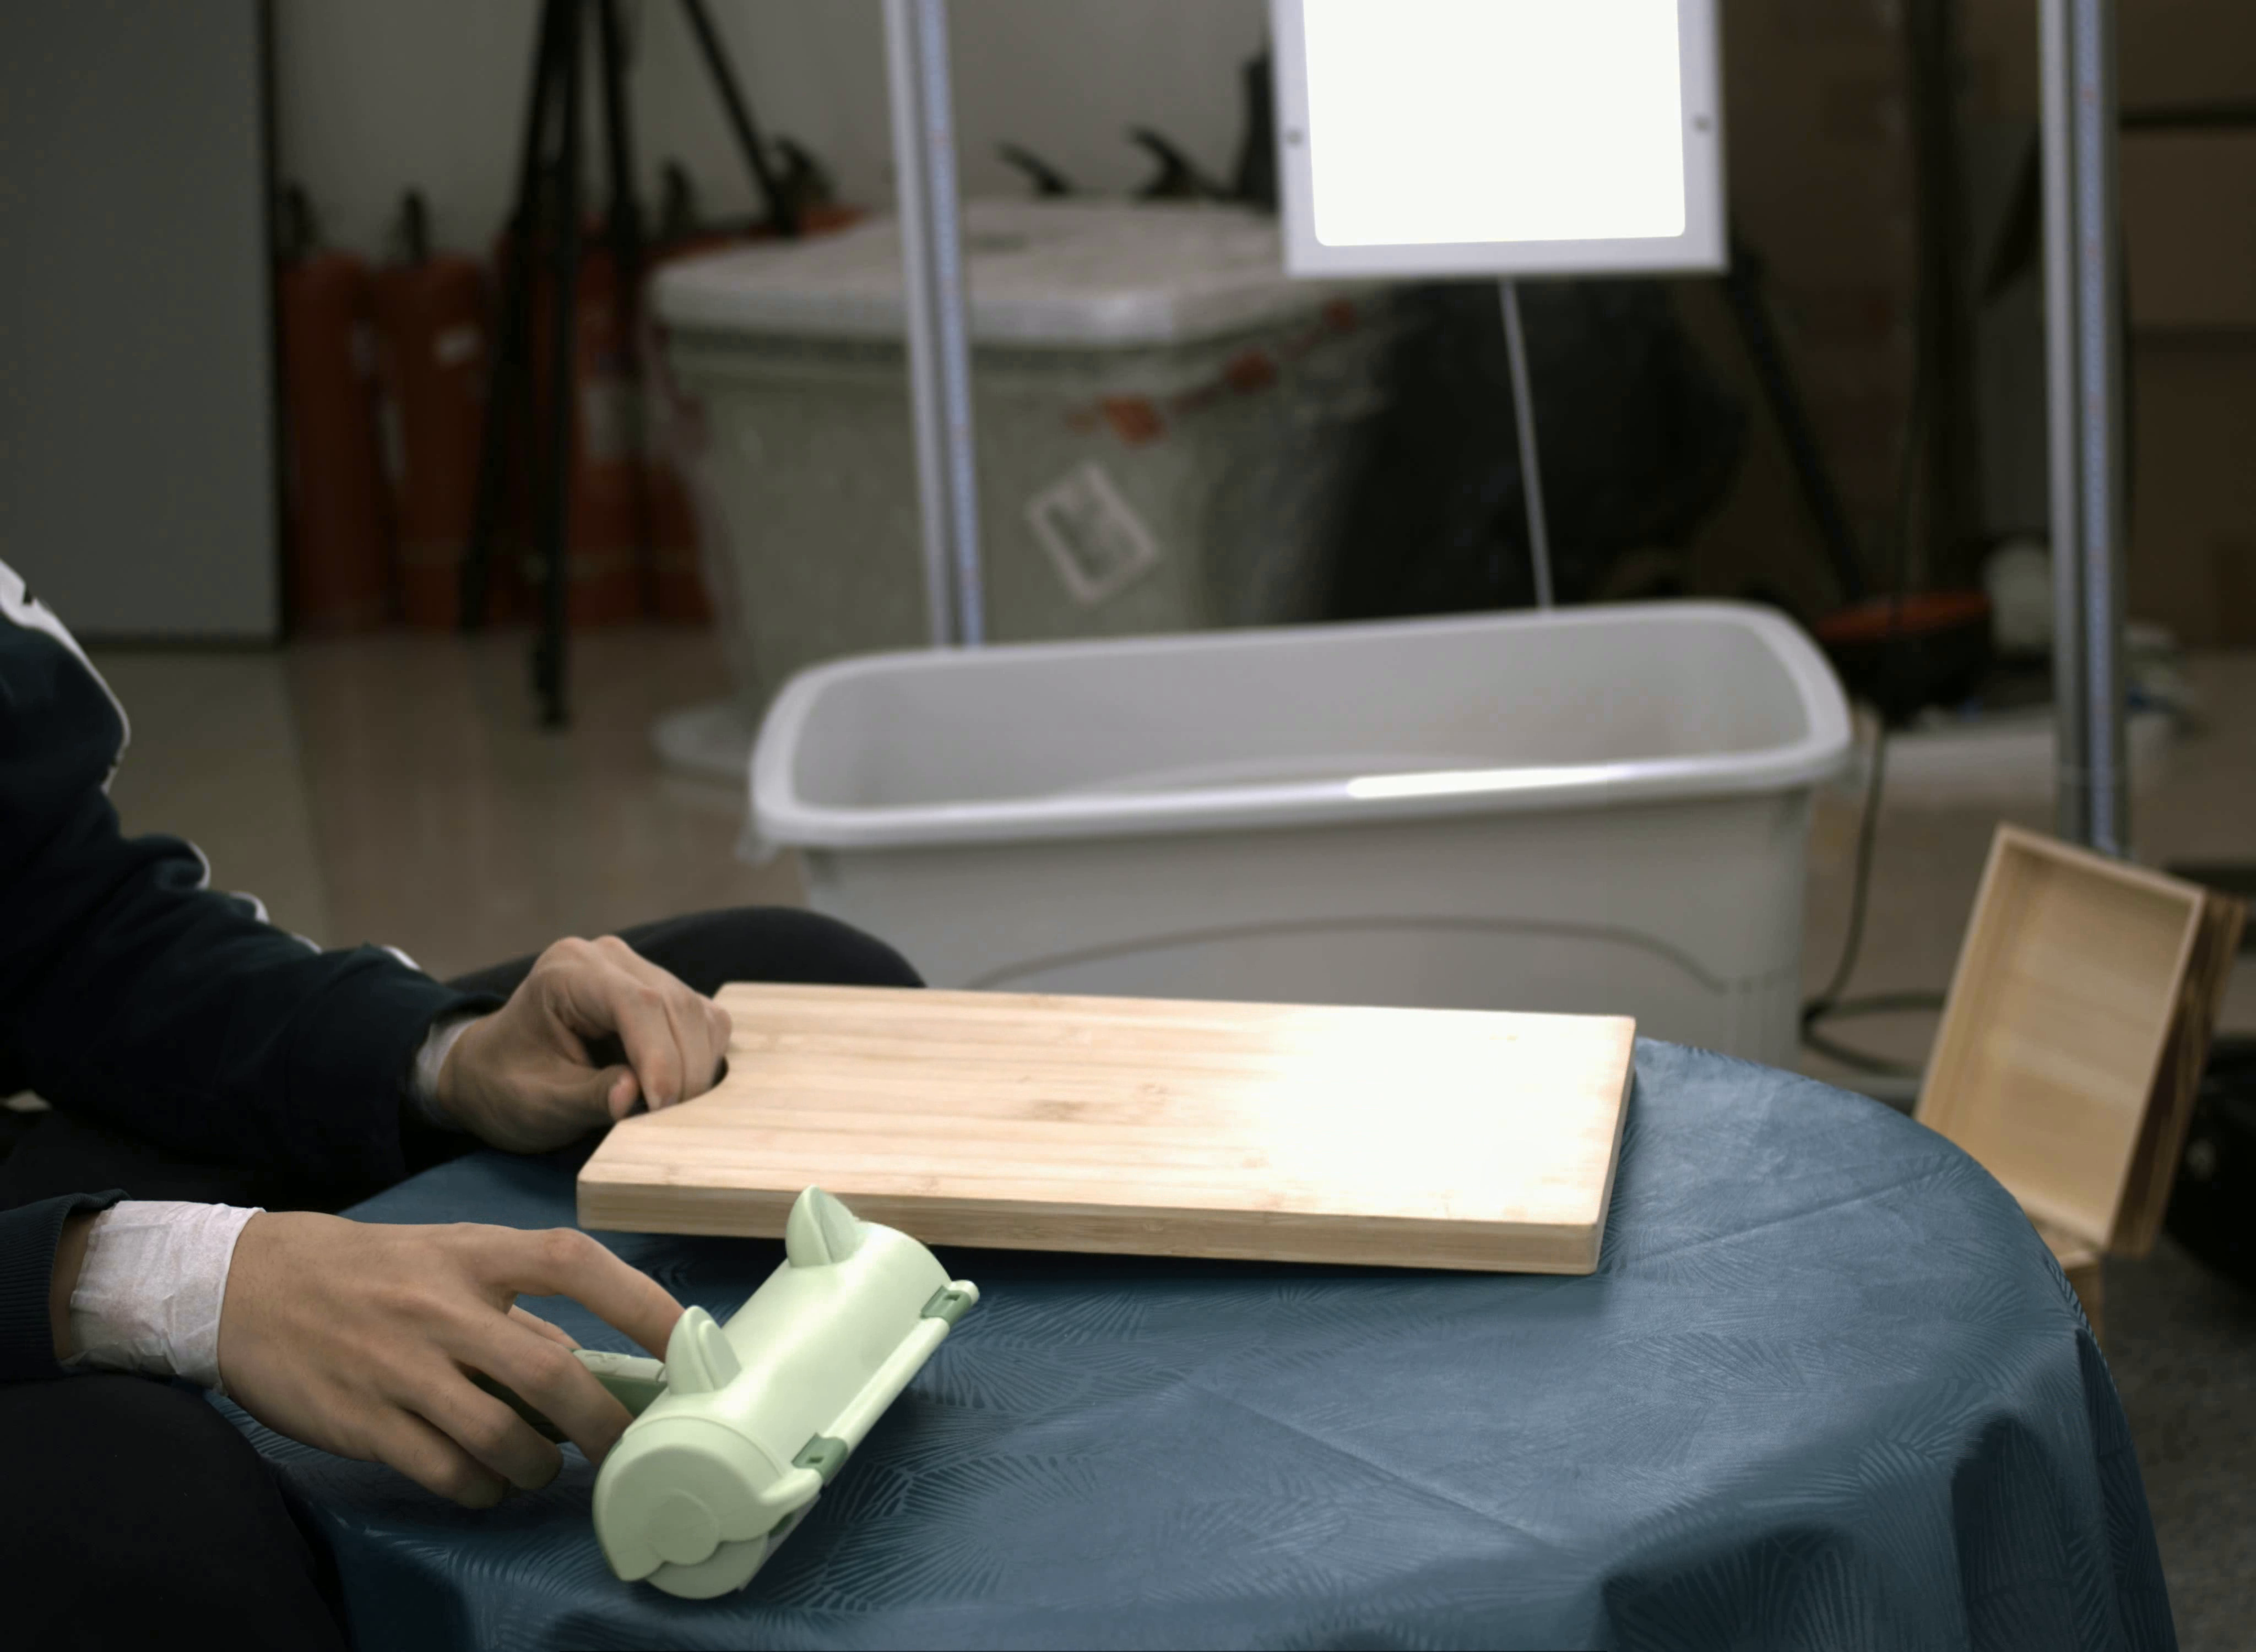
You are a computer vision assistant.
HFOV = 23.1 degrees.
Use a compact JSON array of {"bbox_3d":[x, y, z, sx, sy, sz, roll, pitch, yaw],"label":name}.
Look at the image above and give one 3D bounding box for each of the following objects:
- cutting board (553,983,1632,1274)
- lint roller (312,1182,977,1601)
[{"bbox_3d":[-0.004,0.102,1.911,0.350,0.024,0.248,2,14,9],"label":"cutting board"},{"bbox_3d":[-0.156,0.156,1.645,0.185,0.082,0.196,8,16,14],"label":"lint roller"}]
